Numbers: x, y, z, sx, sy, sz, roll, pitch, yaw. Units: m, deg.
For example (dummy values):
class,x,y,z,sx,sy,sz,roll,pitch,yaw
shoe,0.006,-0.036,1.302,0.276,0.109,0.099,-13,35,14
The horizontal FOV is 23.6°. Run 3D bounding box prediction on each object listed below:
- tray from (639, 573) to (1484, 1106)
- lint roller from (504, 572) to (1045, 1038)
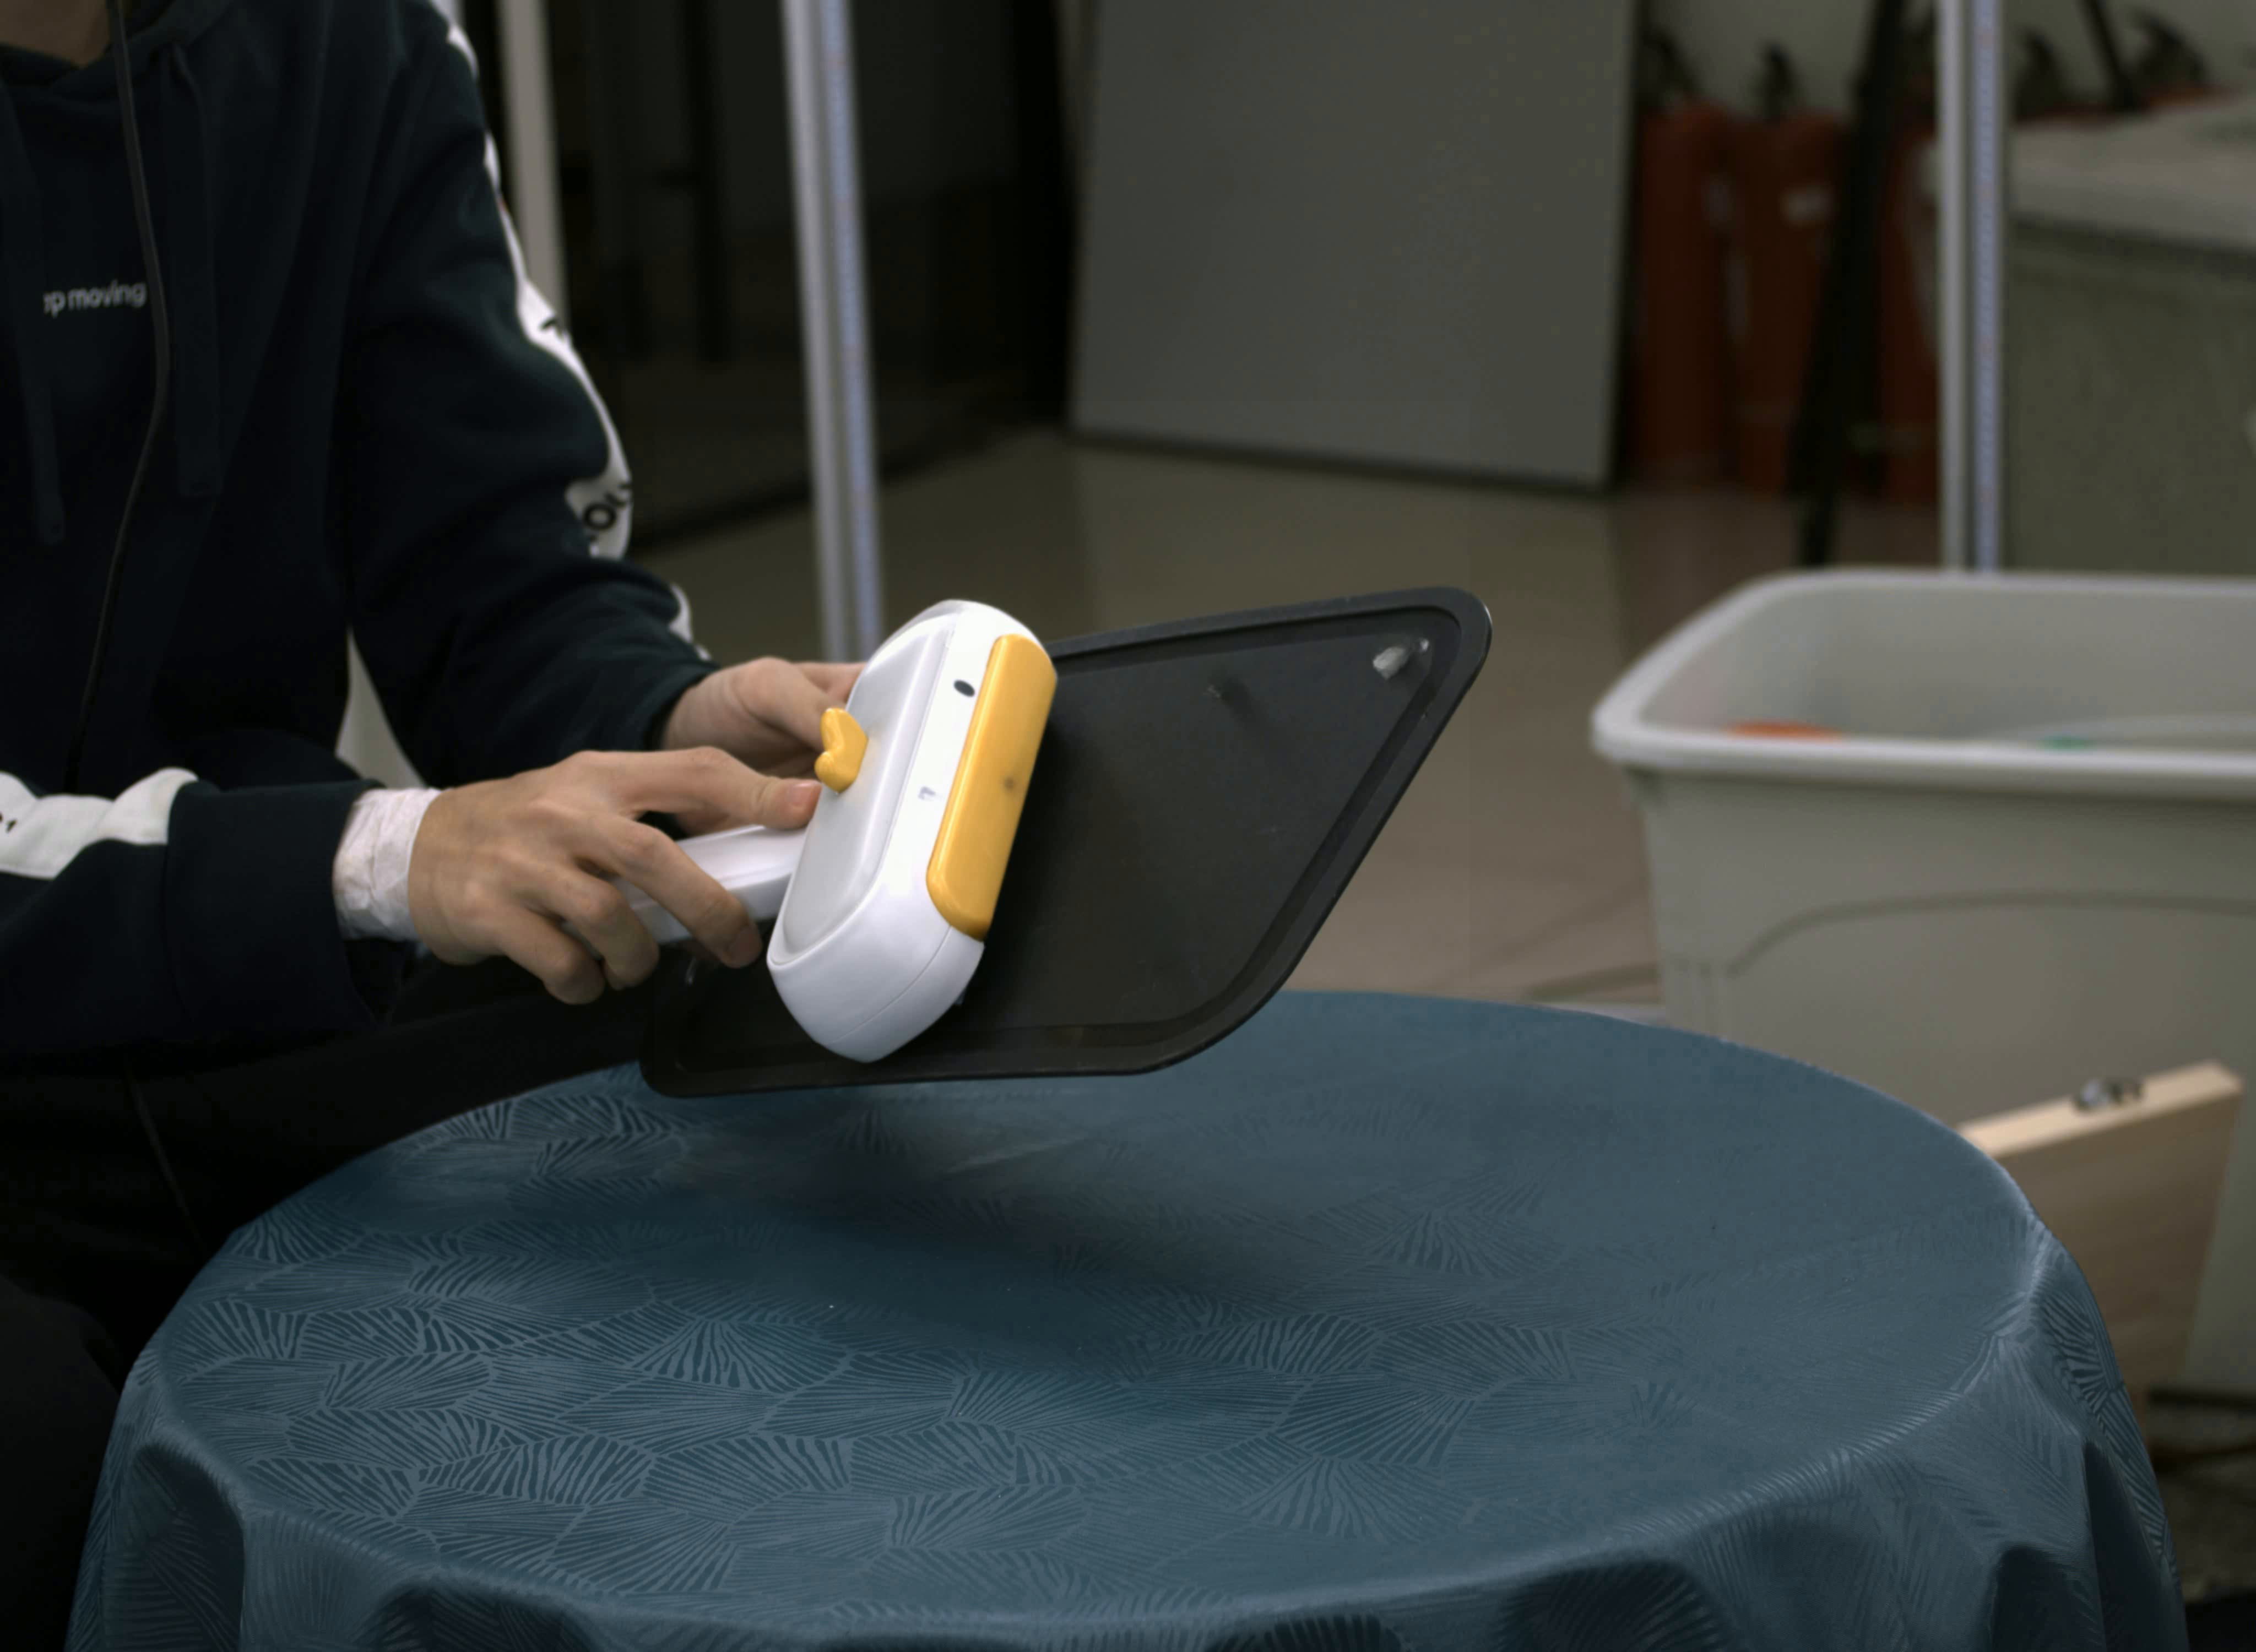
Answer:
class,x,y,z,sx,sy,sz,roll,pitch,yaw
tray,-0.033,0.006,1.745,0.328,0.010,0.210,-7,42,48
lint roller,-0.117,0.013,1.775,0.193,0.073,0.194,-30,32,26
